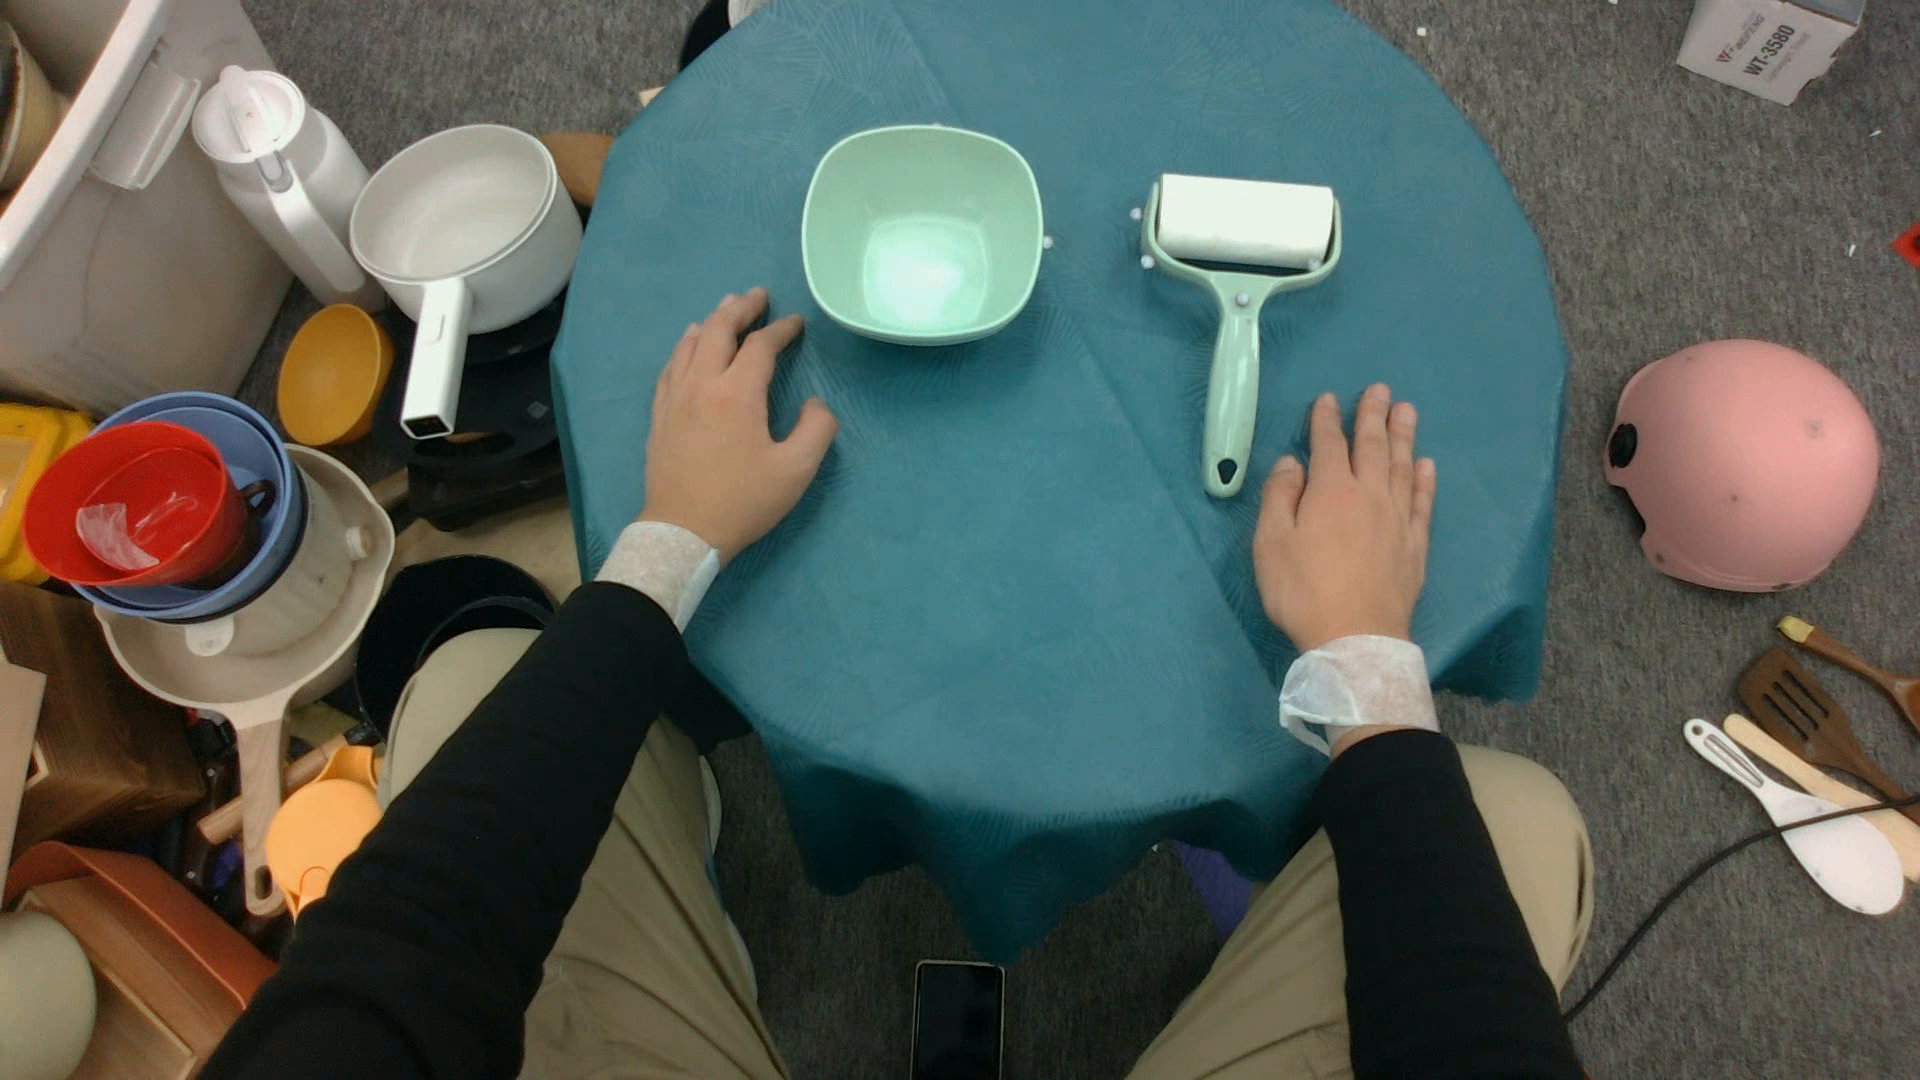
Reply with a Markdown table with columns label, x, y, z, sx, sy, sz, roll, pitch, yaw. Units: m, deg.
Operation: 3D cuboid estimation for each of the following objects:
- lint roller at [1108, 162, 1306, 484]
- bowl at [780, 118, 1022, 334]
| label | x | y | z | sx | sy | sz | roll | pitch | yaw |
| --- | --- | --- | --- | --- | --- | --- | --- | --- | --- |
| lint roller | 0.142 | -0.131 | 0.809 | 0.116 | 0.048 | 0.198 | 5 | 72 | -1 |
| bowl | -0.034 | -0.175 | 0.815 | 0.151 | 0.058 | 0.152 | 1 | 69 | -2 |
